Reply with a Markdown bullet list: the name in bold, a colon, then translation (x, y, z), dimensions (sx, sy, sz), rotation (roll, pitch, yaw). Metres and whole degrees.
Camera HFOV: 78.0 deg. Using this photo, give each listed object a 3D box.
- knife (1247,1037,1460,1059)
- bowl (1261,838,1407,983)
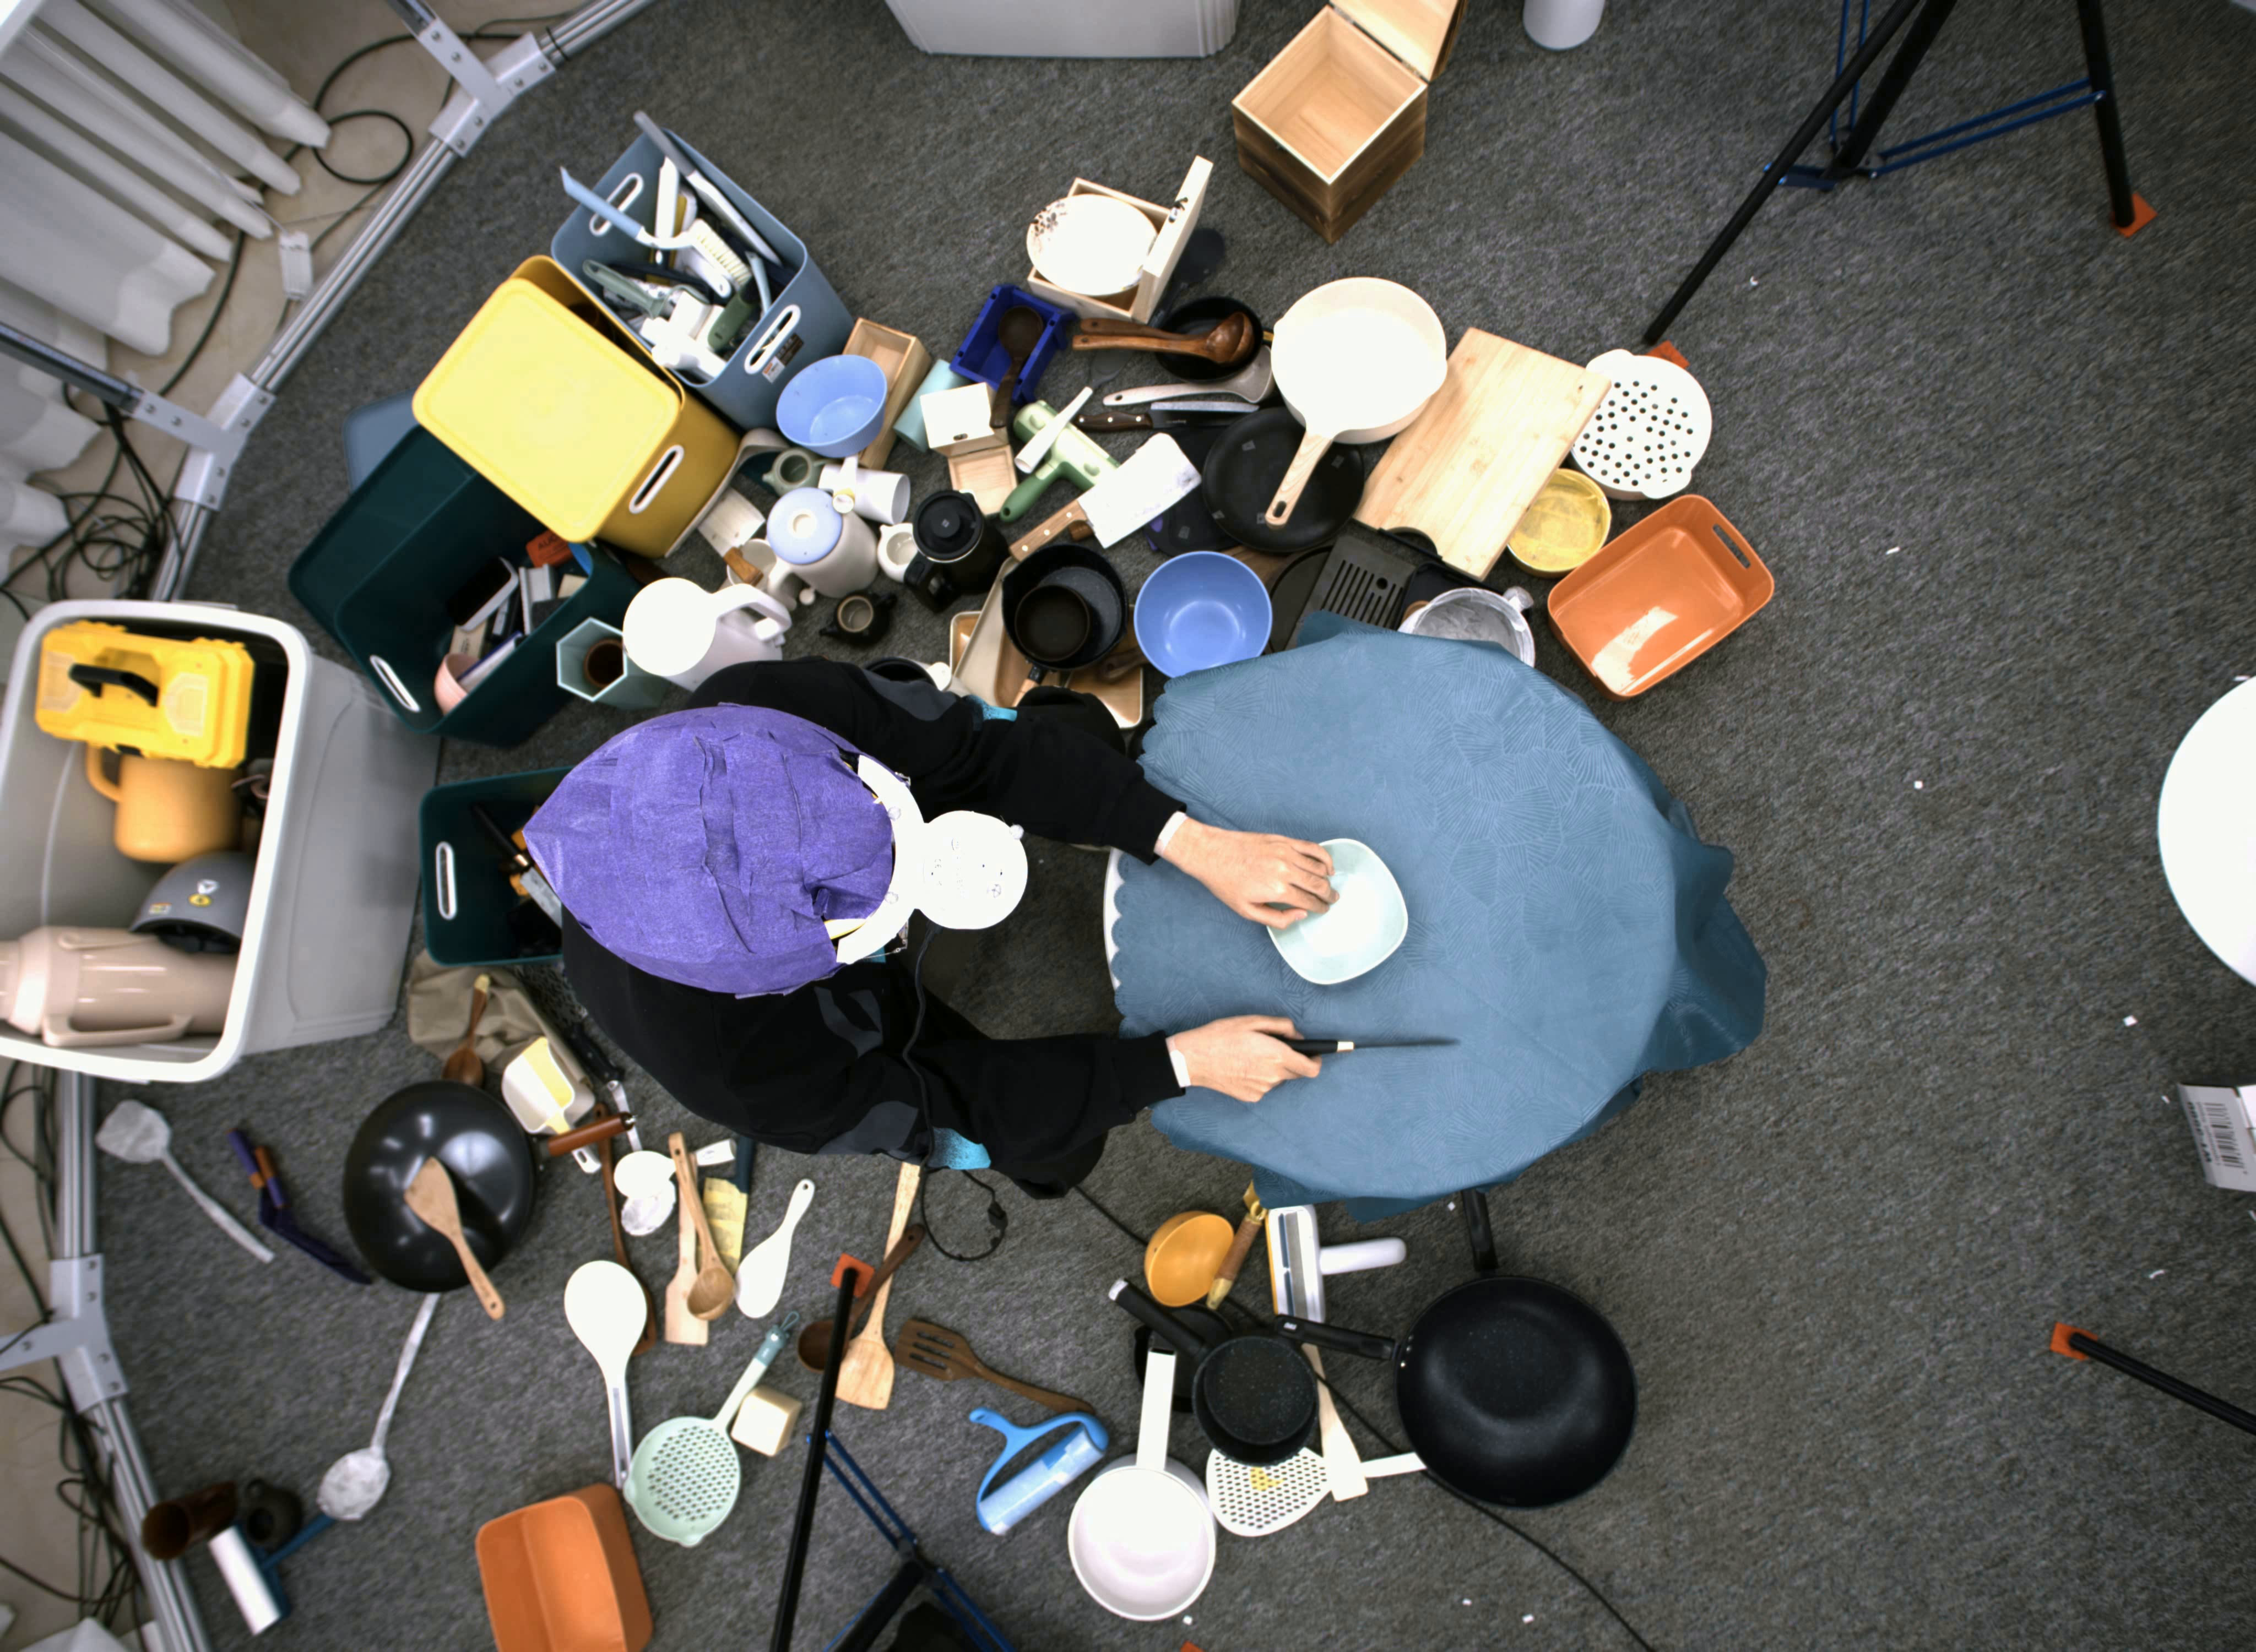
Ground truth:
- **knife**: translation (0.235, 0.227, 1.439), dimensions (0.226, 0.027, 0.017), rotation (-4, 61, 0)
- **bowl**: translation (0.214, 0.088, 1.442), dimensions (0.152, 0.058, 0.151), rotation (-1, 88, 10)
